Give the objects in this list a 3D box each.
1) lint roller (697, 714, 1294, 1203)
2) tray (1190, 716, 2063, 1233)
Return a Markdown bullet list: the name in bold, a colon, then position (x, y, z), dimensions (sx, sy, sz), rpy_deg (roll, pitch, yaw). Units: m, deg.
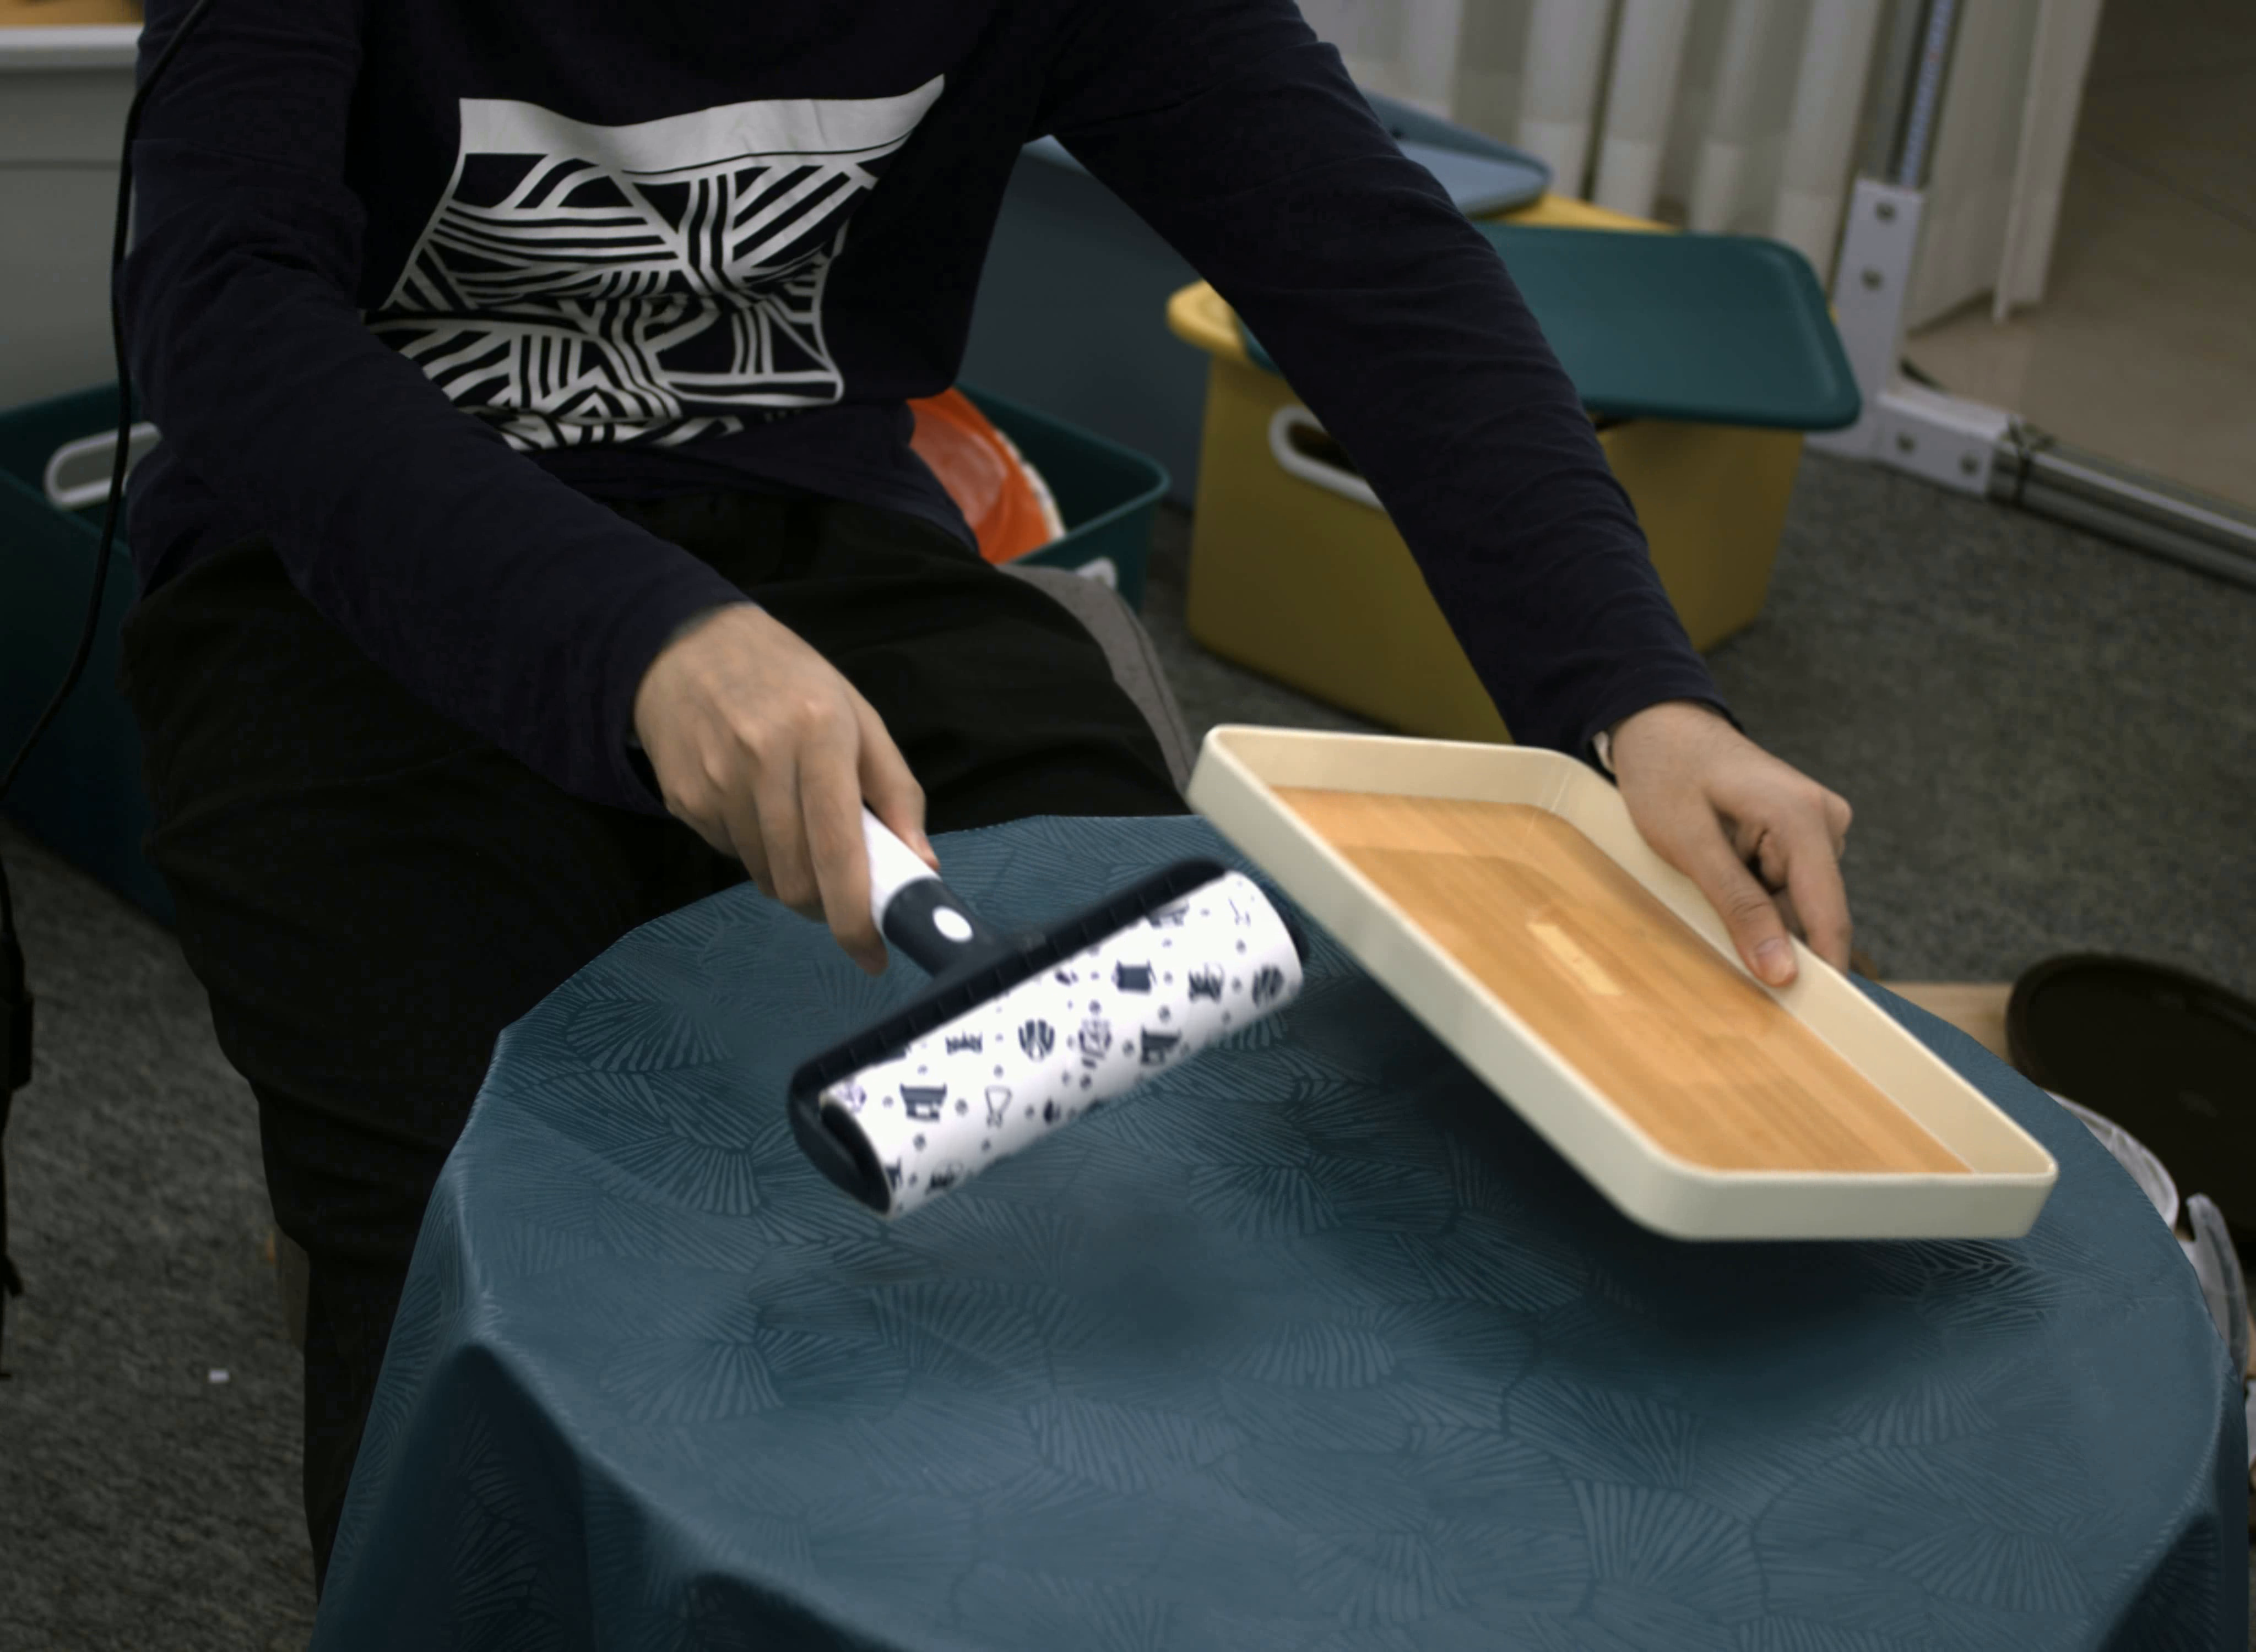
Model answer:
- **lint roller**: position (-0.082, 0.019, 1.798), dimensions (0.176, 0.050, 0.249), rpy_deg (-30, 43, -21)
- **tray**: position (0.169, 0.049, 1.856), dimensions (0.190, 0.027, 0.303), rpy_deg (3, 28, -37)
